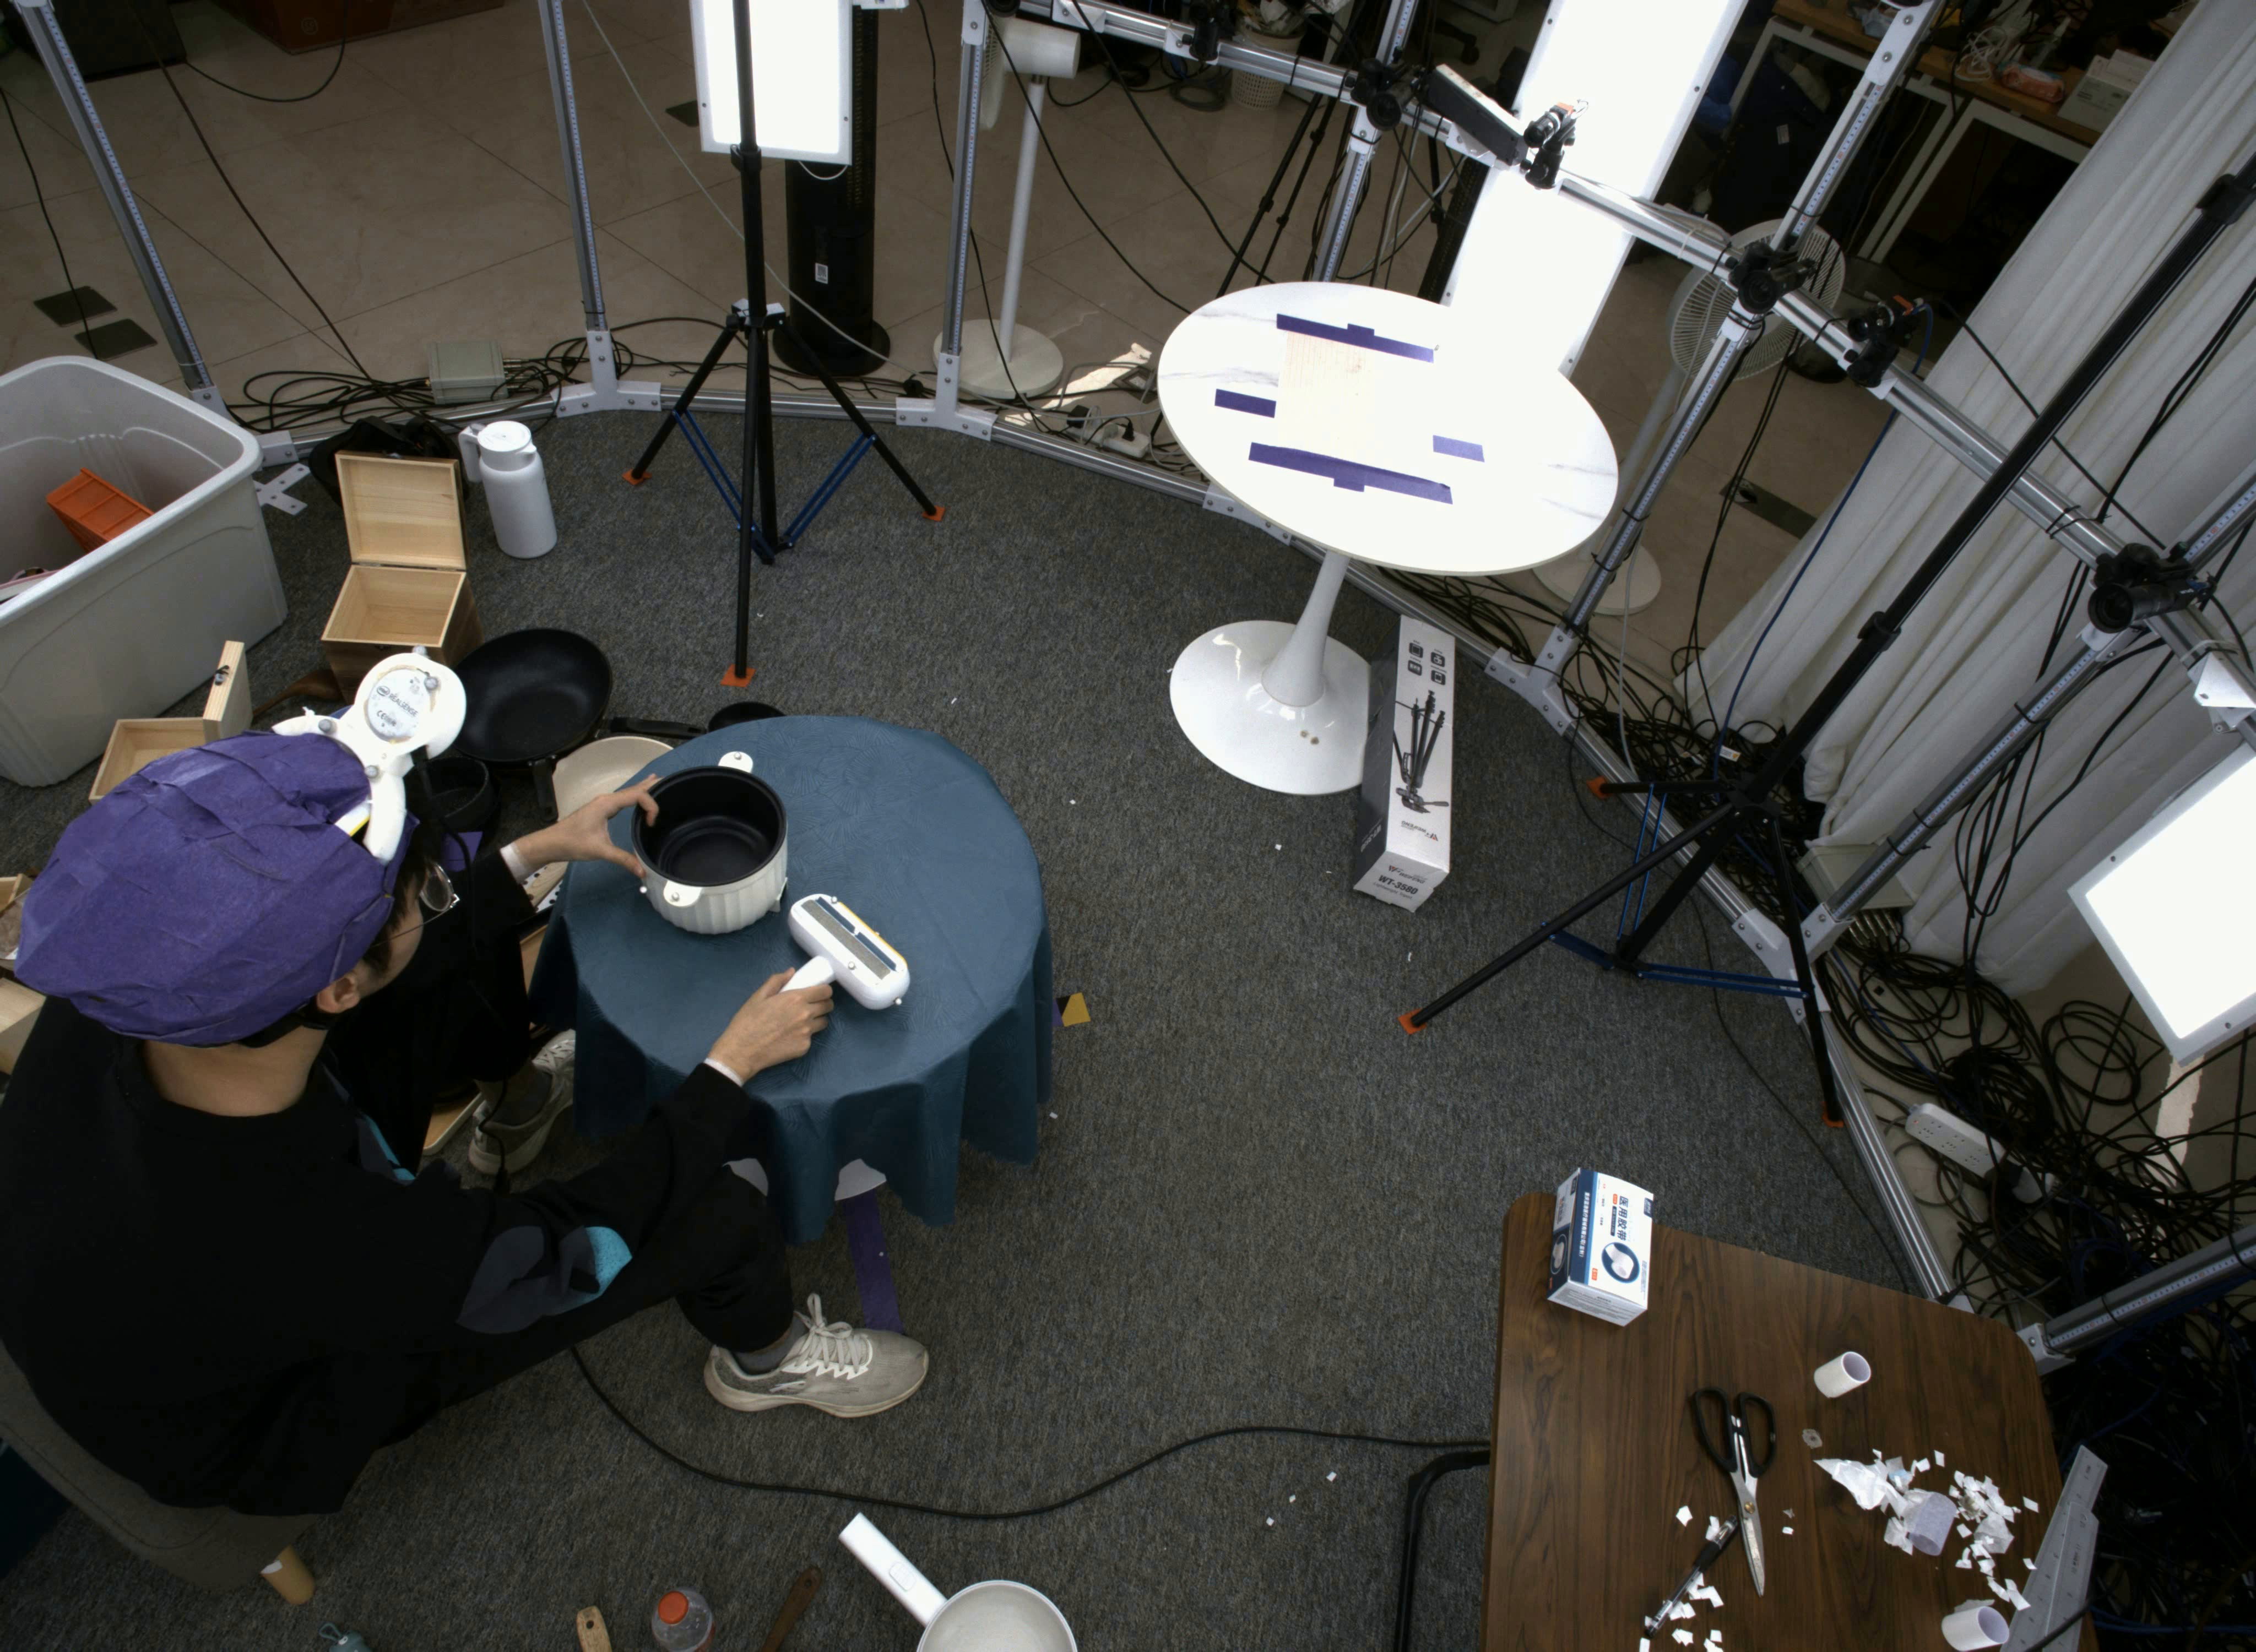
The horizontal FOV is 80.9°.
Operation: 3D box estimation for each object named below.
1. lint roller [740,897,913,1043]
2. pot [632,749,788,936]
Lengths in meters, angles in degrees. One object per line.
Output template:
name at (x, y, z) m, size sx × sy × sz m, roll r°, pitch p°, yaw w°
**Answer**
lint roller at (-0.381, 0.185, 1.560) m, size 0.193 × 0.076 × 0.187 m, roll -31°, pitch 59°, yaw -30°
pot at (-0.517, 0.035, 1.589) m, size 0.190 × 0.145 × 0.236 m, roll 13°, pitch 50°, yaw -7°
